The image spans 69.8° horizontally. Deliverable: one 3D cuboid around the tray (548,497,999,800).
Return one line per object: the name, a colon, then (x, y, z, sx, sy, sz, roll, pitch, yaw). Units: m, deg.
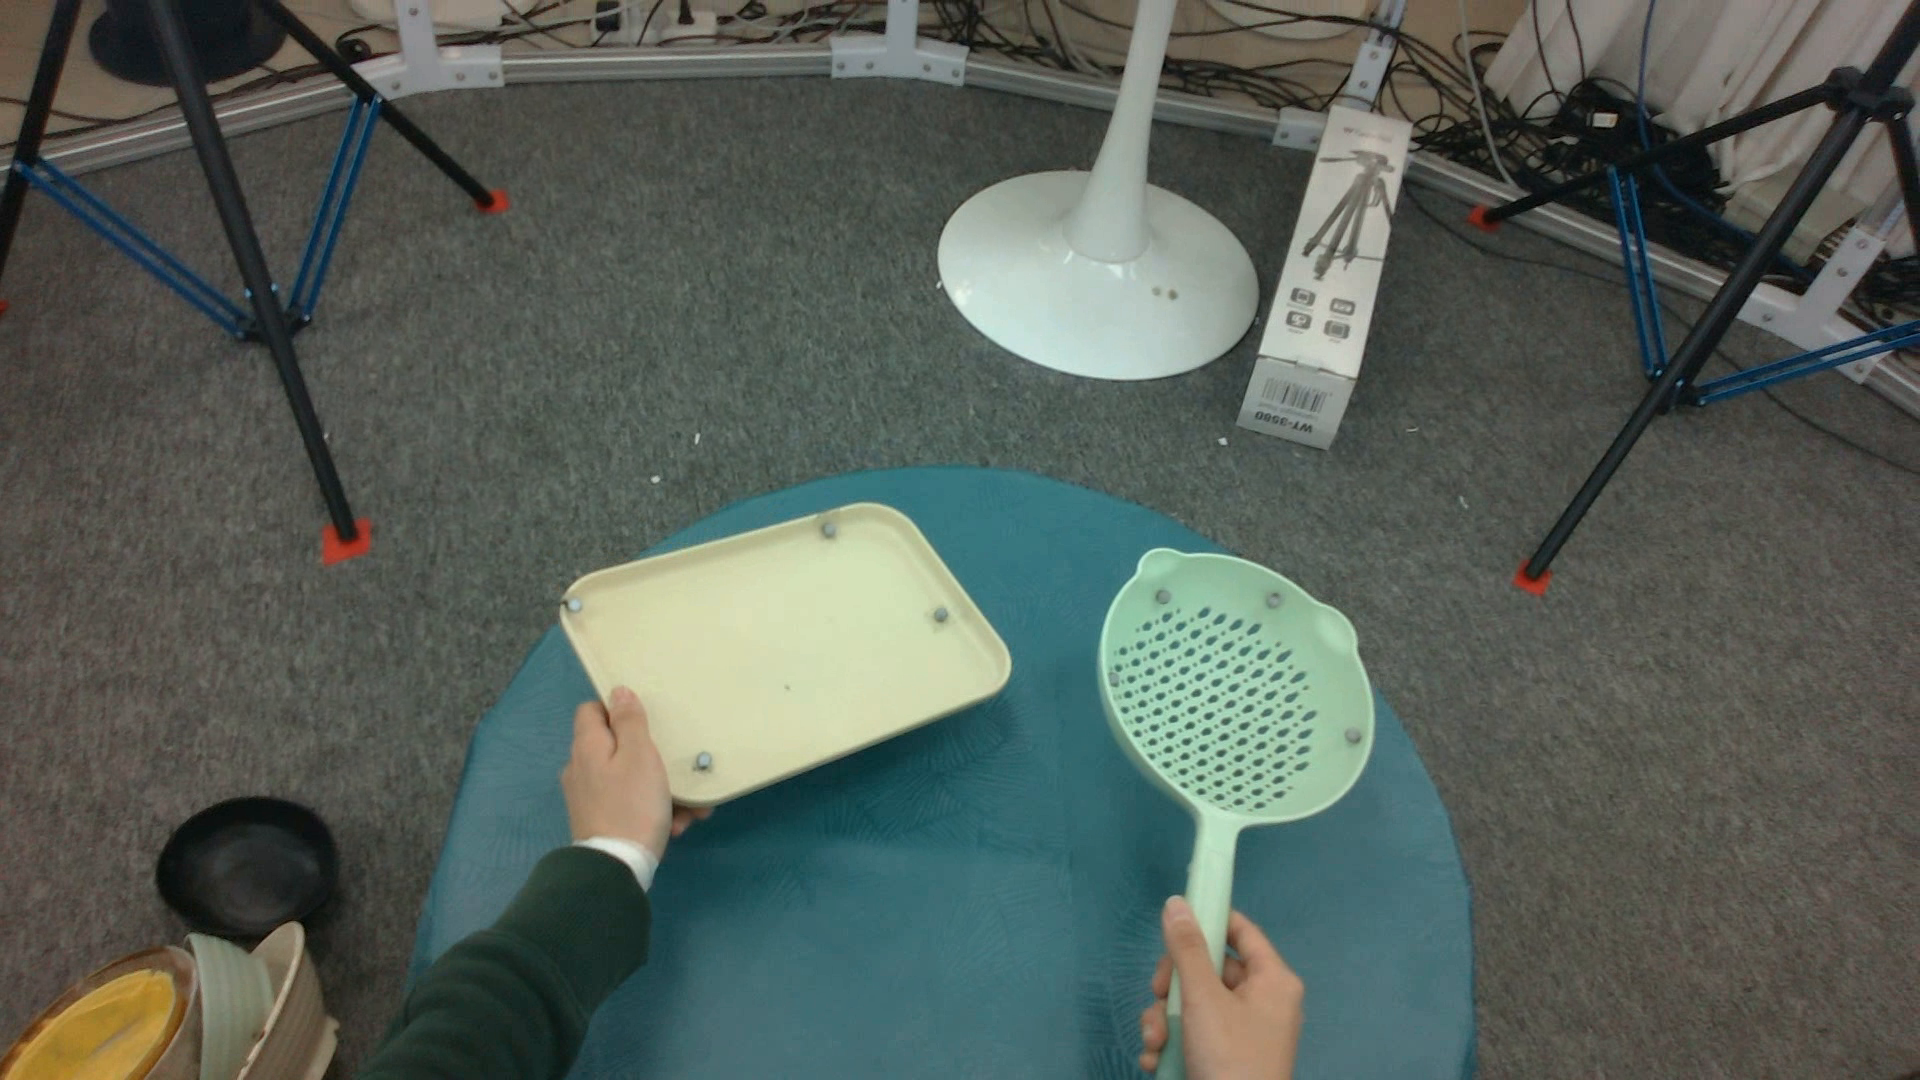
tray: (-0.107, 0.057, 0.819, 0.240, 0.017, 0.171, -17, 54, -33)

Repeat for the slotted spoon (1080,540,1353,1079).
slotted spoon: (0.125, 0.157, 0.741, 0.169, 0.075, 0.360, 20, 45, -5)
